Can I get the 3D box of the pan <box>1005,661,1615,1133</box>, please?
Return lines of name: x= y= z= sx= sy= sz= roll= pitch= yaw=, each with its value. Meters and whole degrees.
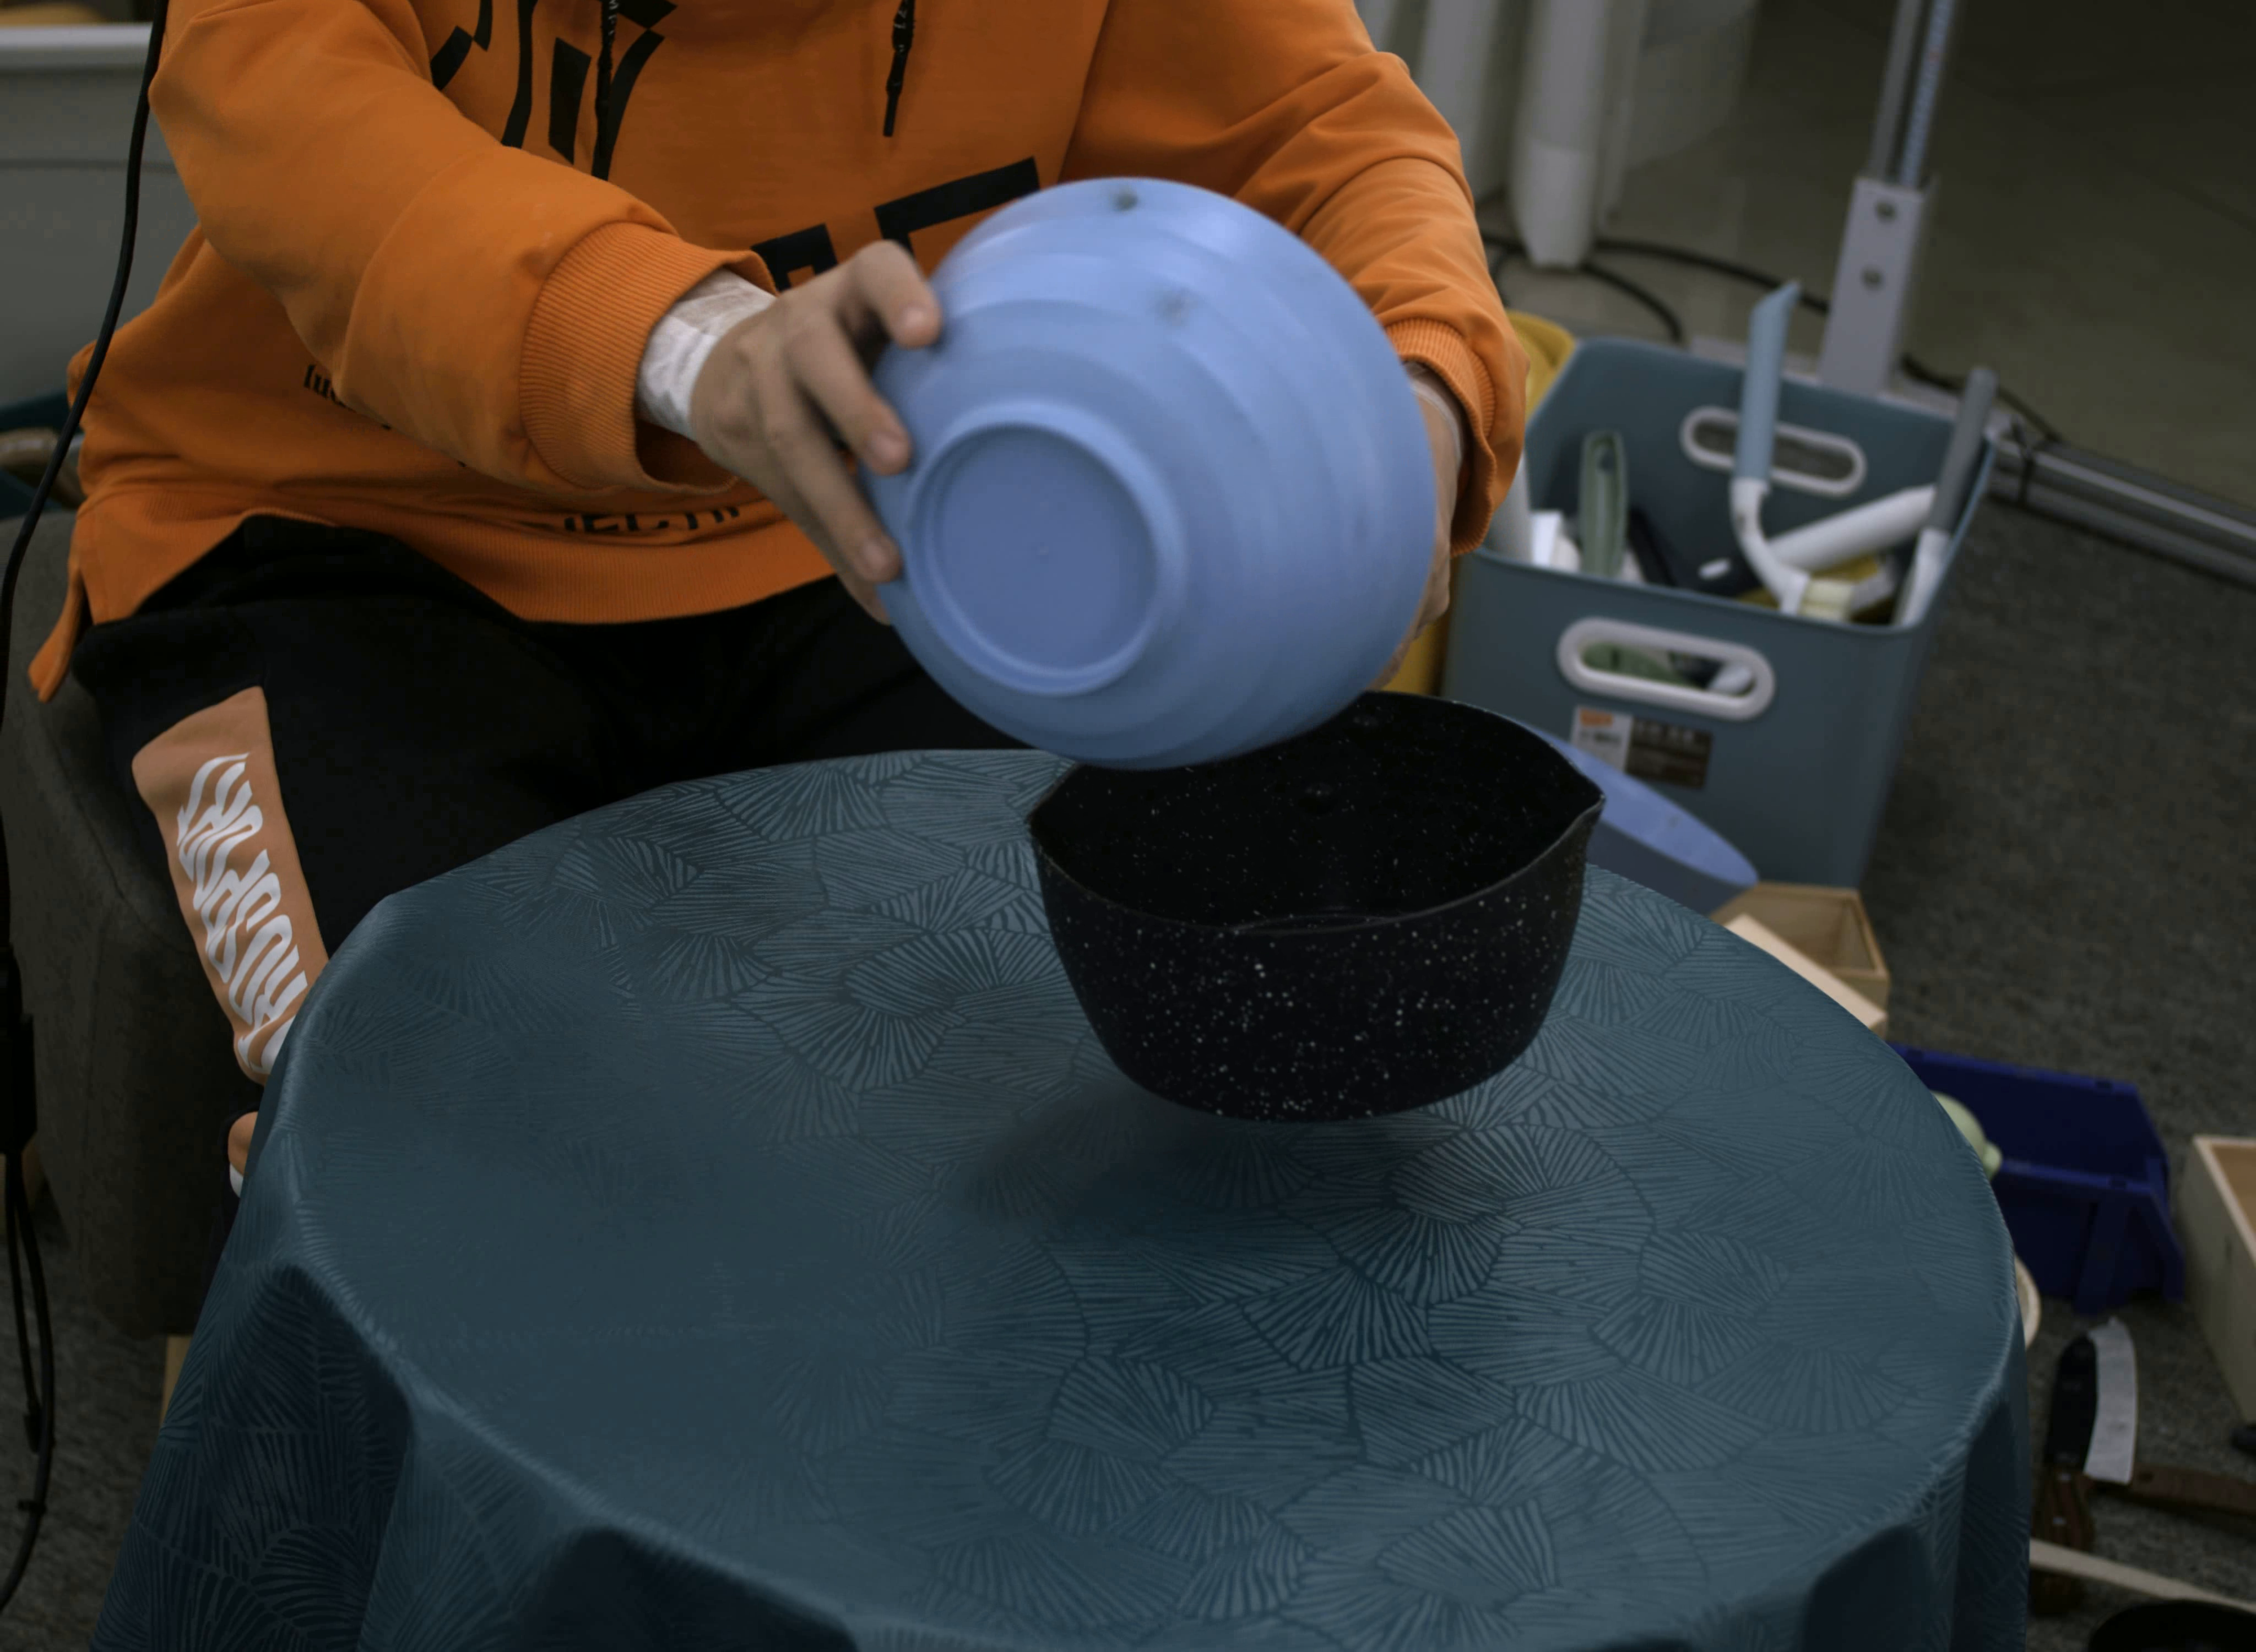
pan: x=0.065 y=-0.015 z=1.874 sx=0.207 sy=0.108 sz=0.345 roll=-5 pitch=27 yaw=4

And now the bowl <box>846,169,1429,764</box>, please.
bowl: x=-0.013 y=-0.100 z=1.684 sx=0.197 sy=0.196 sz=0.095 roll=18 pitch=30 yaw=21
